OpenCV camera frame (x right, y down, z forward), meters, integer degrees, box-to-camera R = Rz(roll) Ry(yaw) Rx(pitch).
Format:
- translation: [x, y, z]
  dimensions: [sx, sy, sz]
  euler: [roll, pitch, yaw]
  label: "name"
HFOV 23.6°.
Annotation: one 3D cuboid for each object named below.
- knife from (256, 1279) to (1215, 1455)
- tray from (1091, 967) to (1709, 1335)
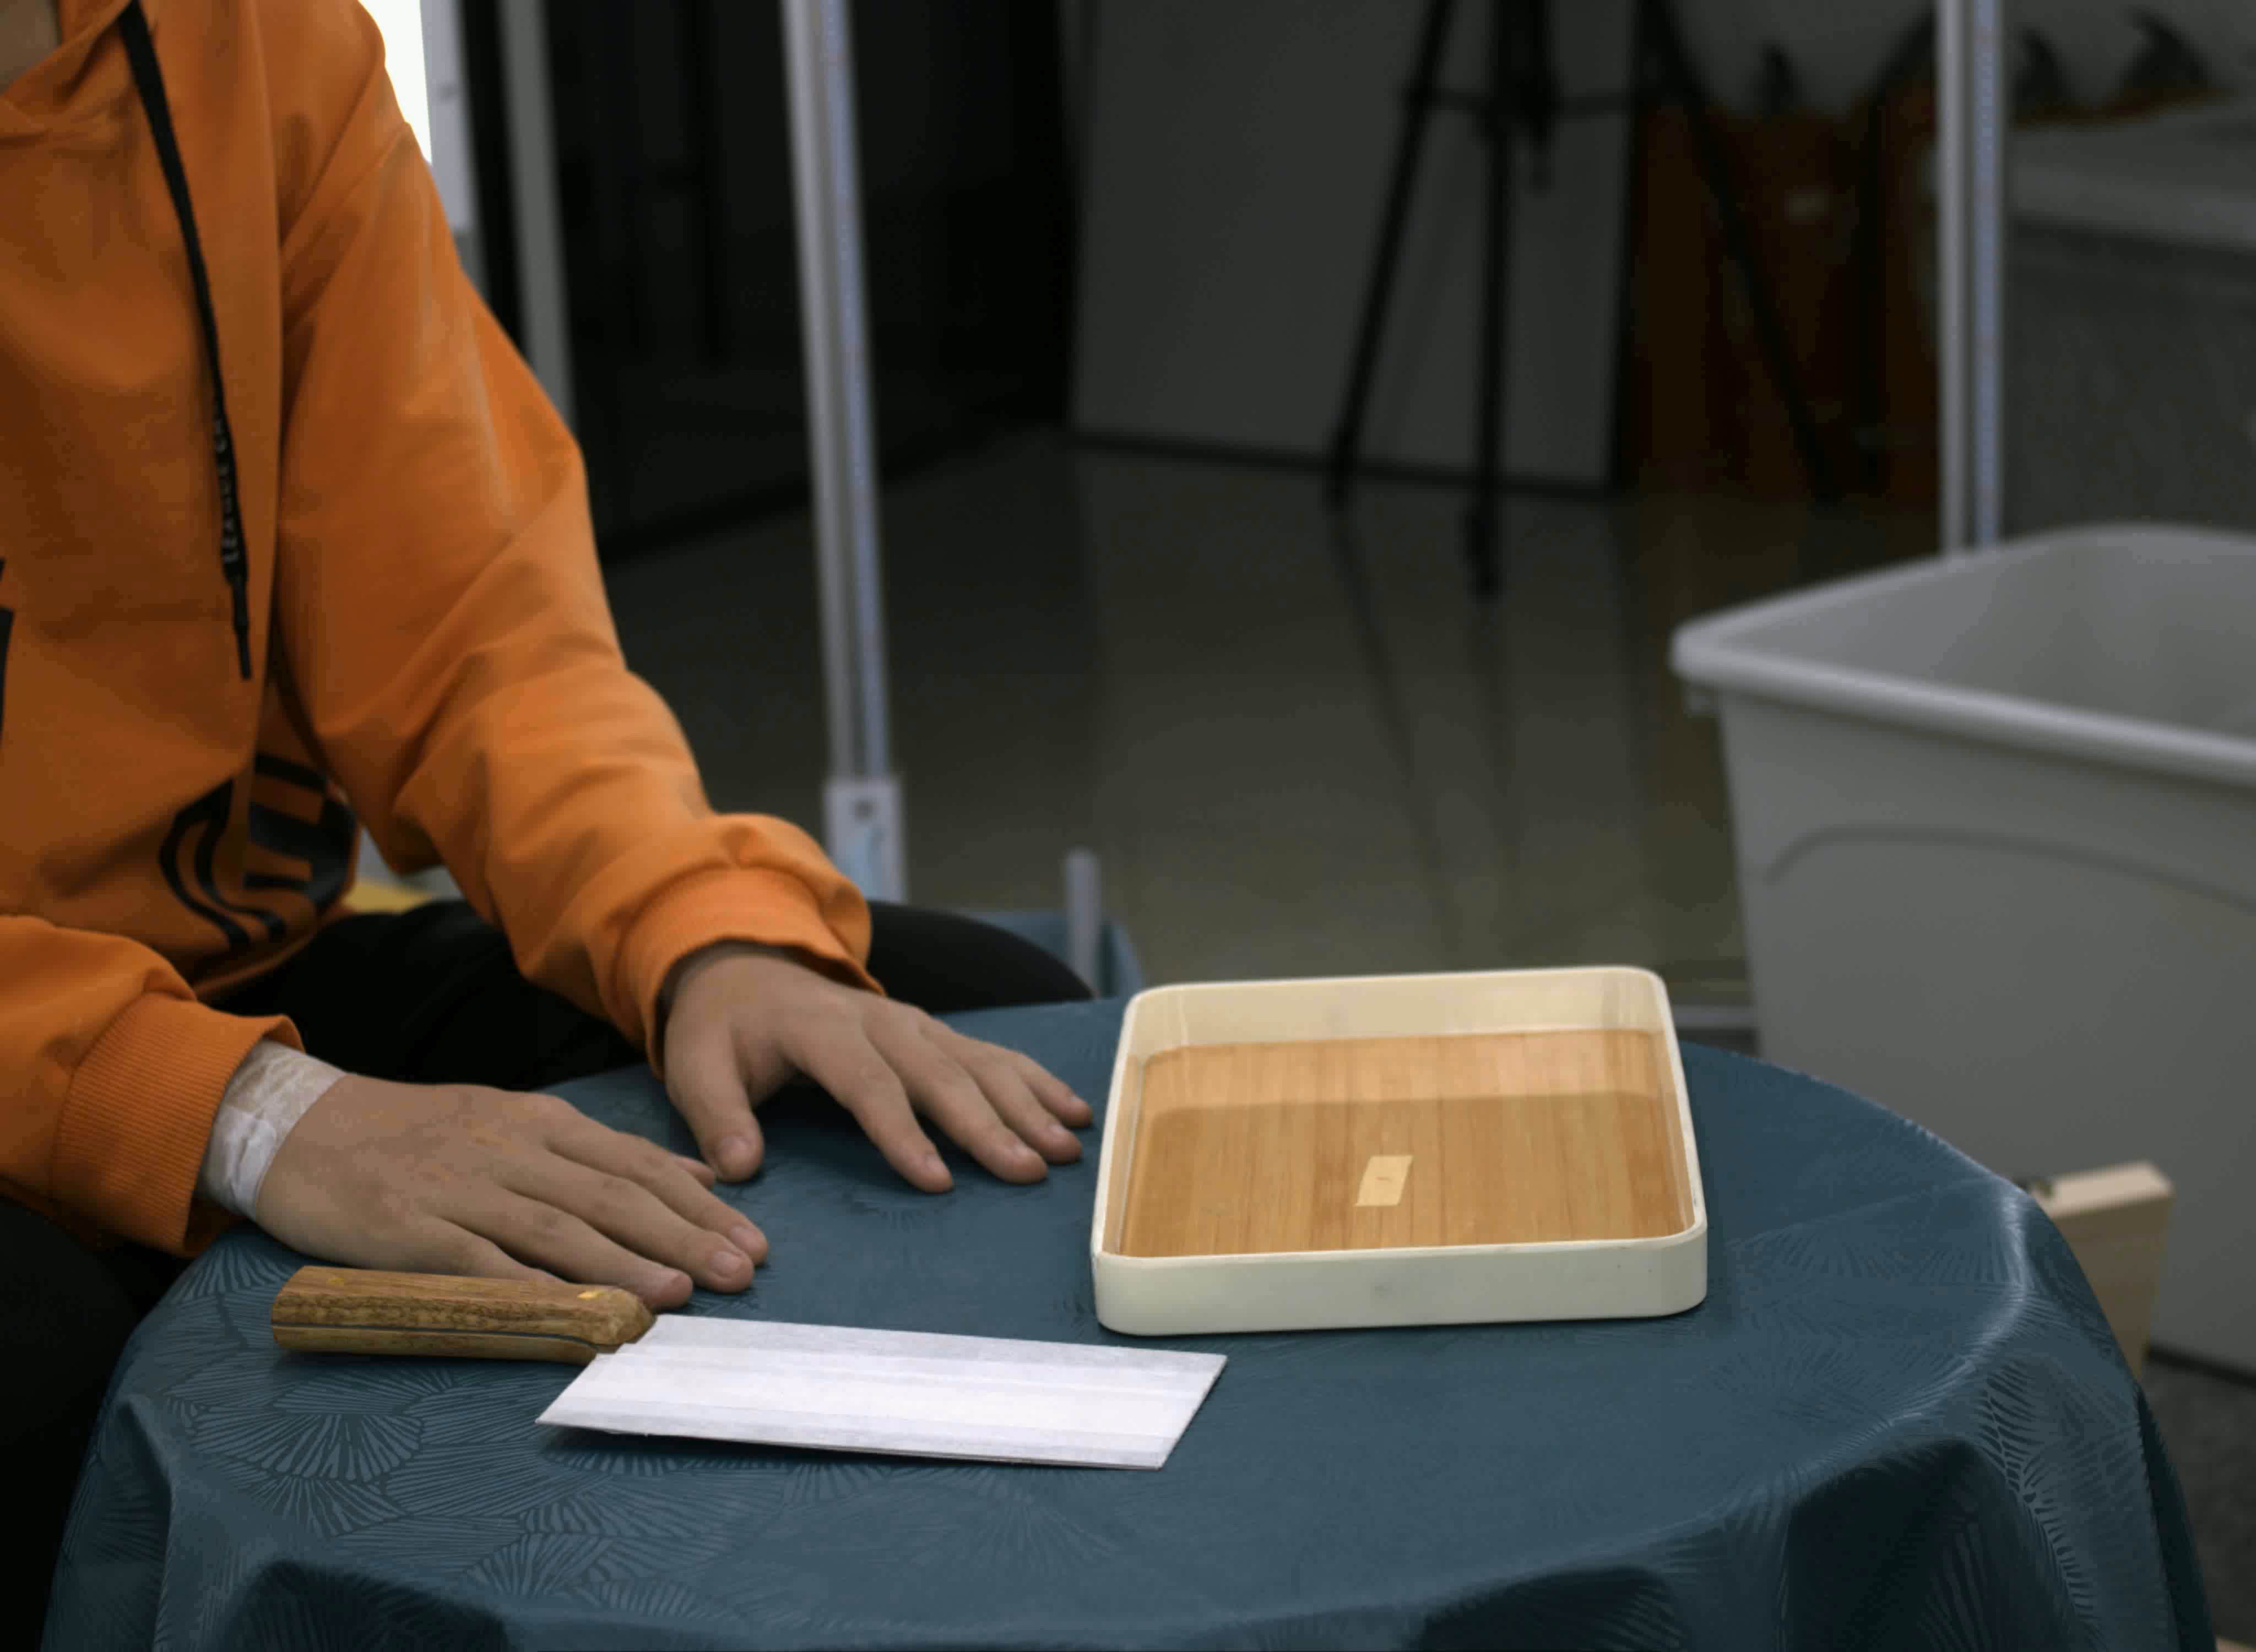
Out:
- translation: [-0.125, 0.164, 1.604]
  dimensions: [0.304, 0.021, 0.092]
  euler: [2, 16, 16]
  label: "knife"
- translation: [0.089, 0.103, 1.761]
  dimensions: [0.189, 0.028, 0.300]
  euler: [-3, 14, 4]
  label: "tray"
